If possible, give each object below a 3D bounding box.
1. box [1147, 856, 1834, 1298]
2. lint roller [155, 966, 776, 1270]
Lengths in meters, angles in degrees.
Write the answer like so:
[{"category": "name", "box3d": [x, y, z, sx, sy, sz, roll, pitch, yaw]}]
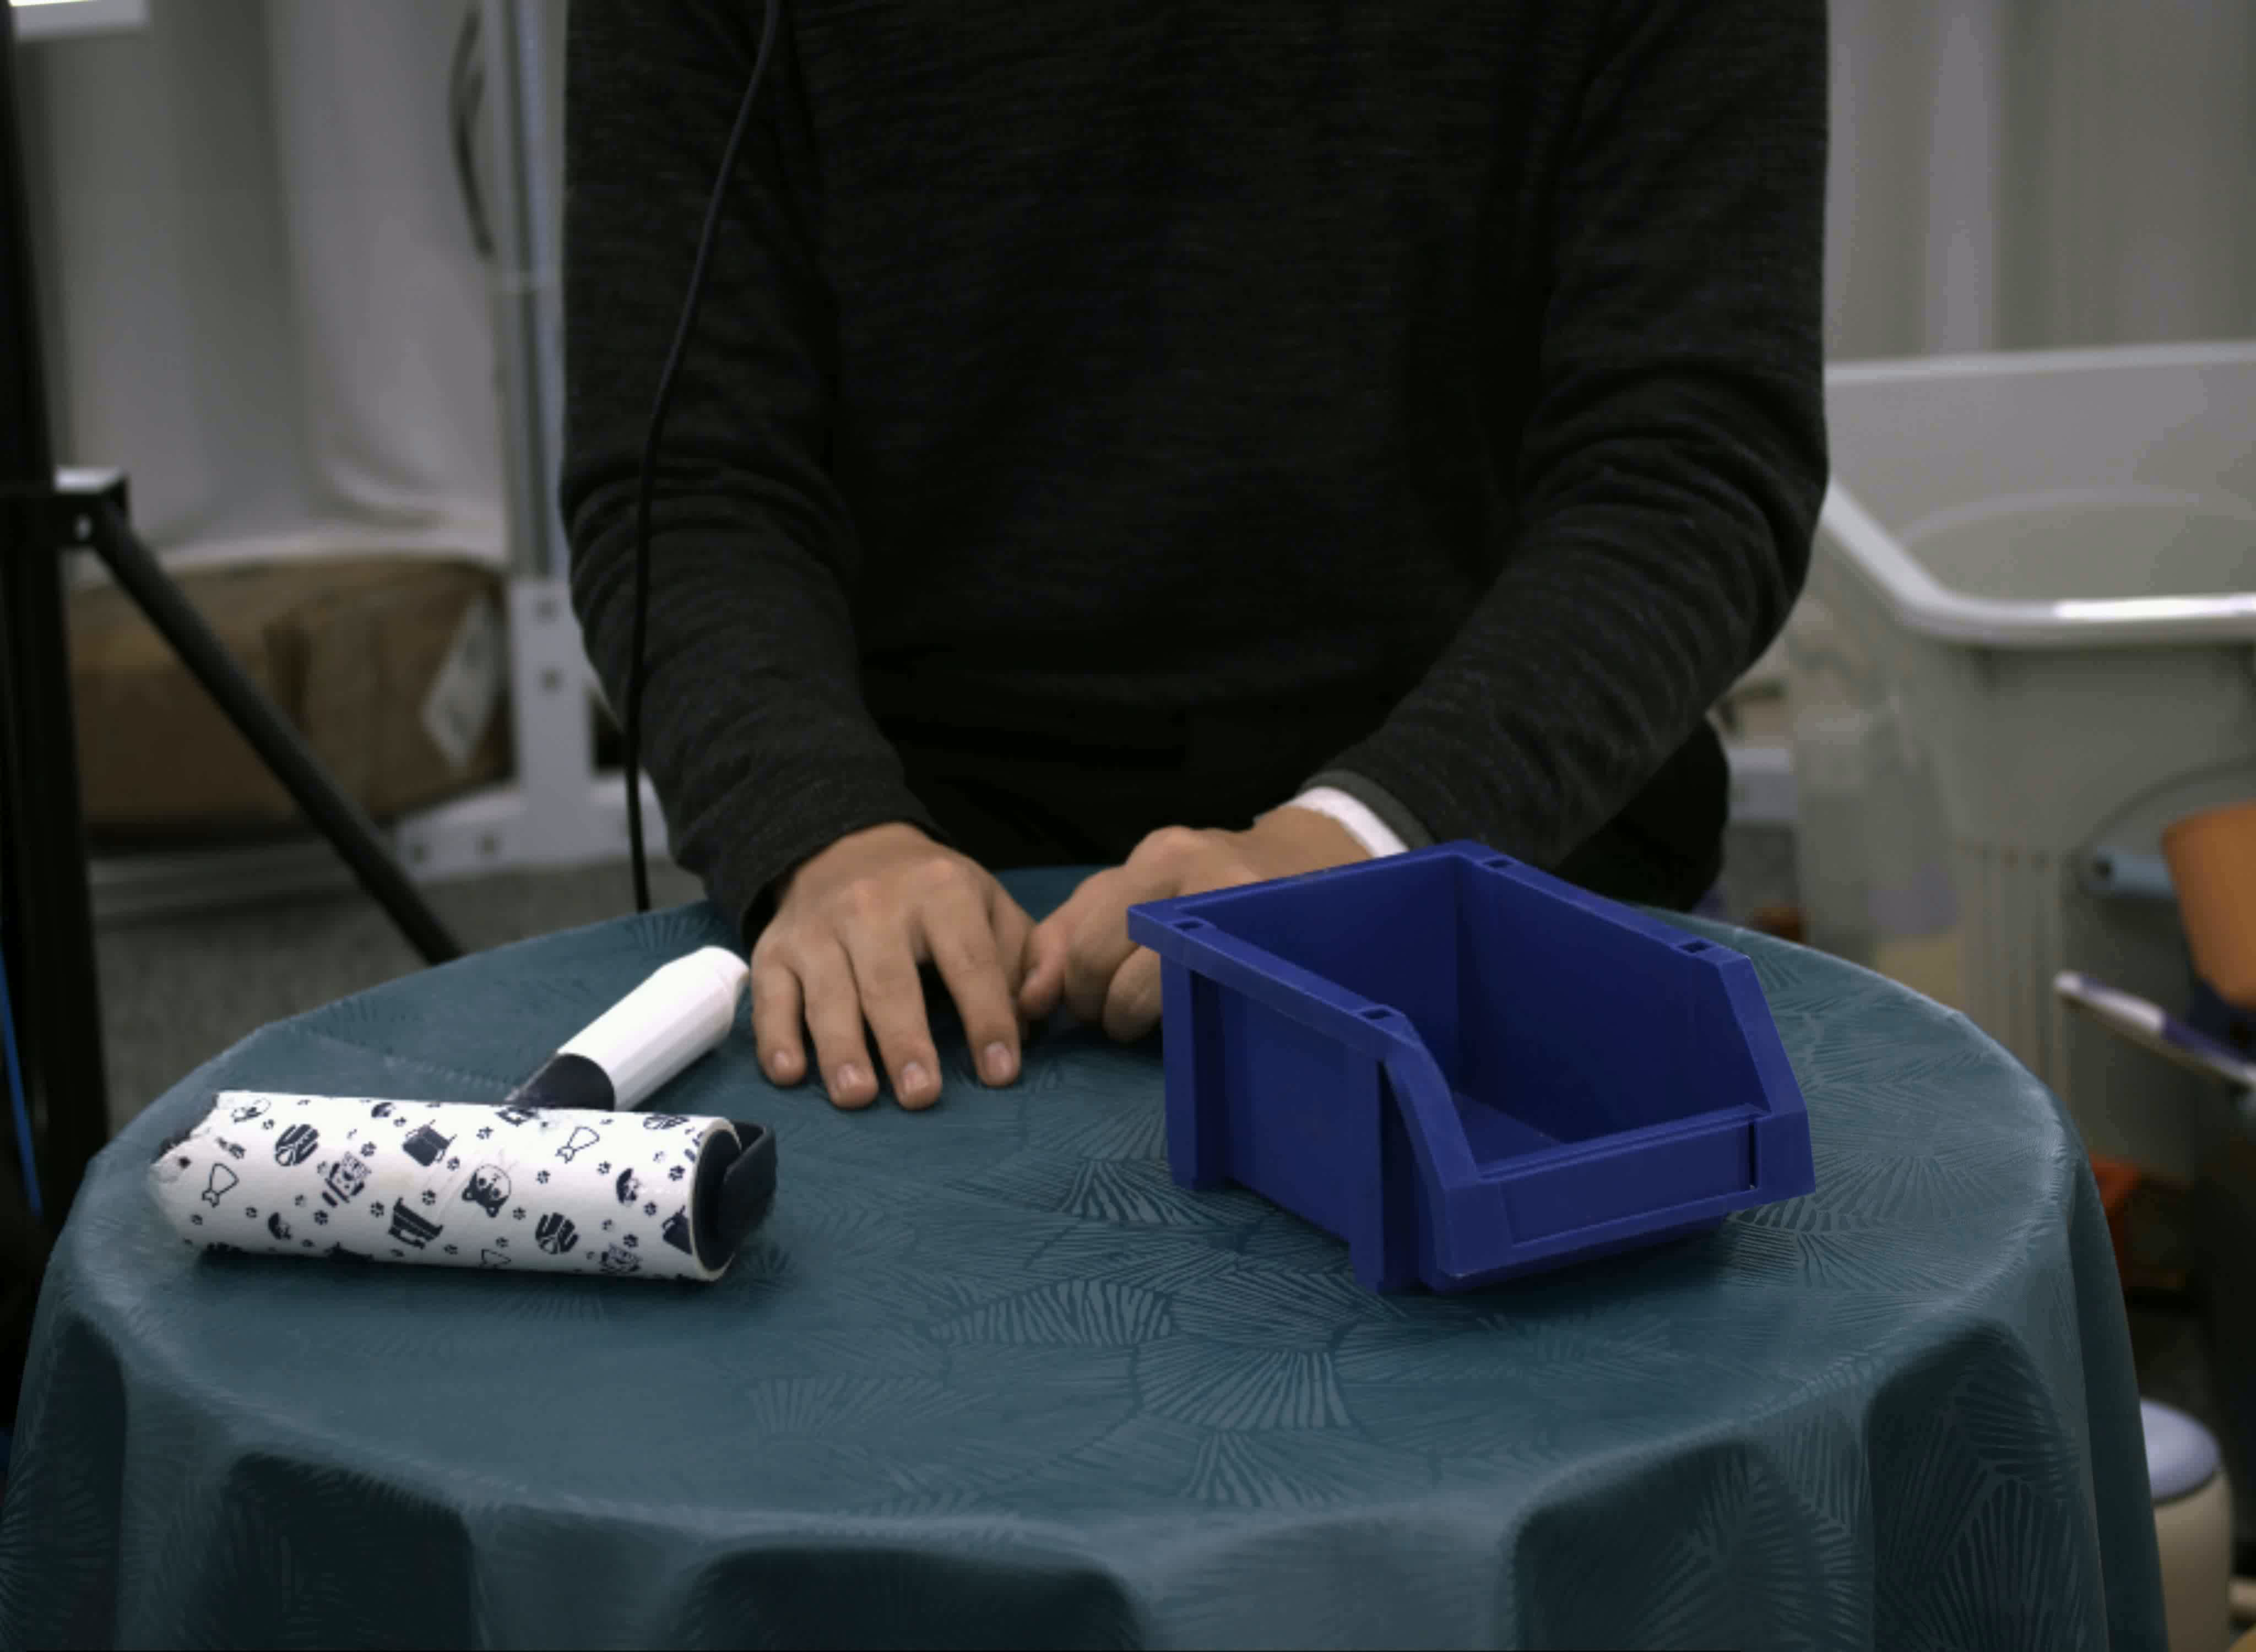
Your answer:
[{"category": "box", "box3d": [0.103, 0.073, 1.514, 0.122, 0.082, 0.183, -9, 14, -26]}, {"category": "lint roller", "box3d": [-0.166, 0.077, 1.618, 0.178, 0.050, 0.245, 1, 15, 16]}]
